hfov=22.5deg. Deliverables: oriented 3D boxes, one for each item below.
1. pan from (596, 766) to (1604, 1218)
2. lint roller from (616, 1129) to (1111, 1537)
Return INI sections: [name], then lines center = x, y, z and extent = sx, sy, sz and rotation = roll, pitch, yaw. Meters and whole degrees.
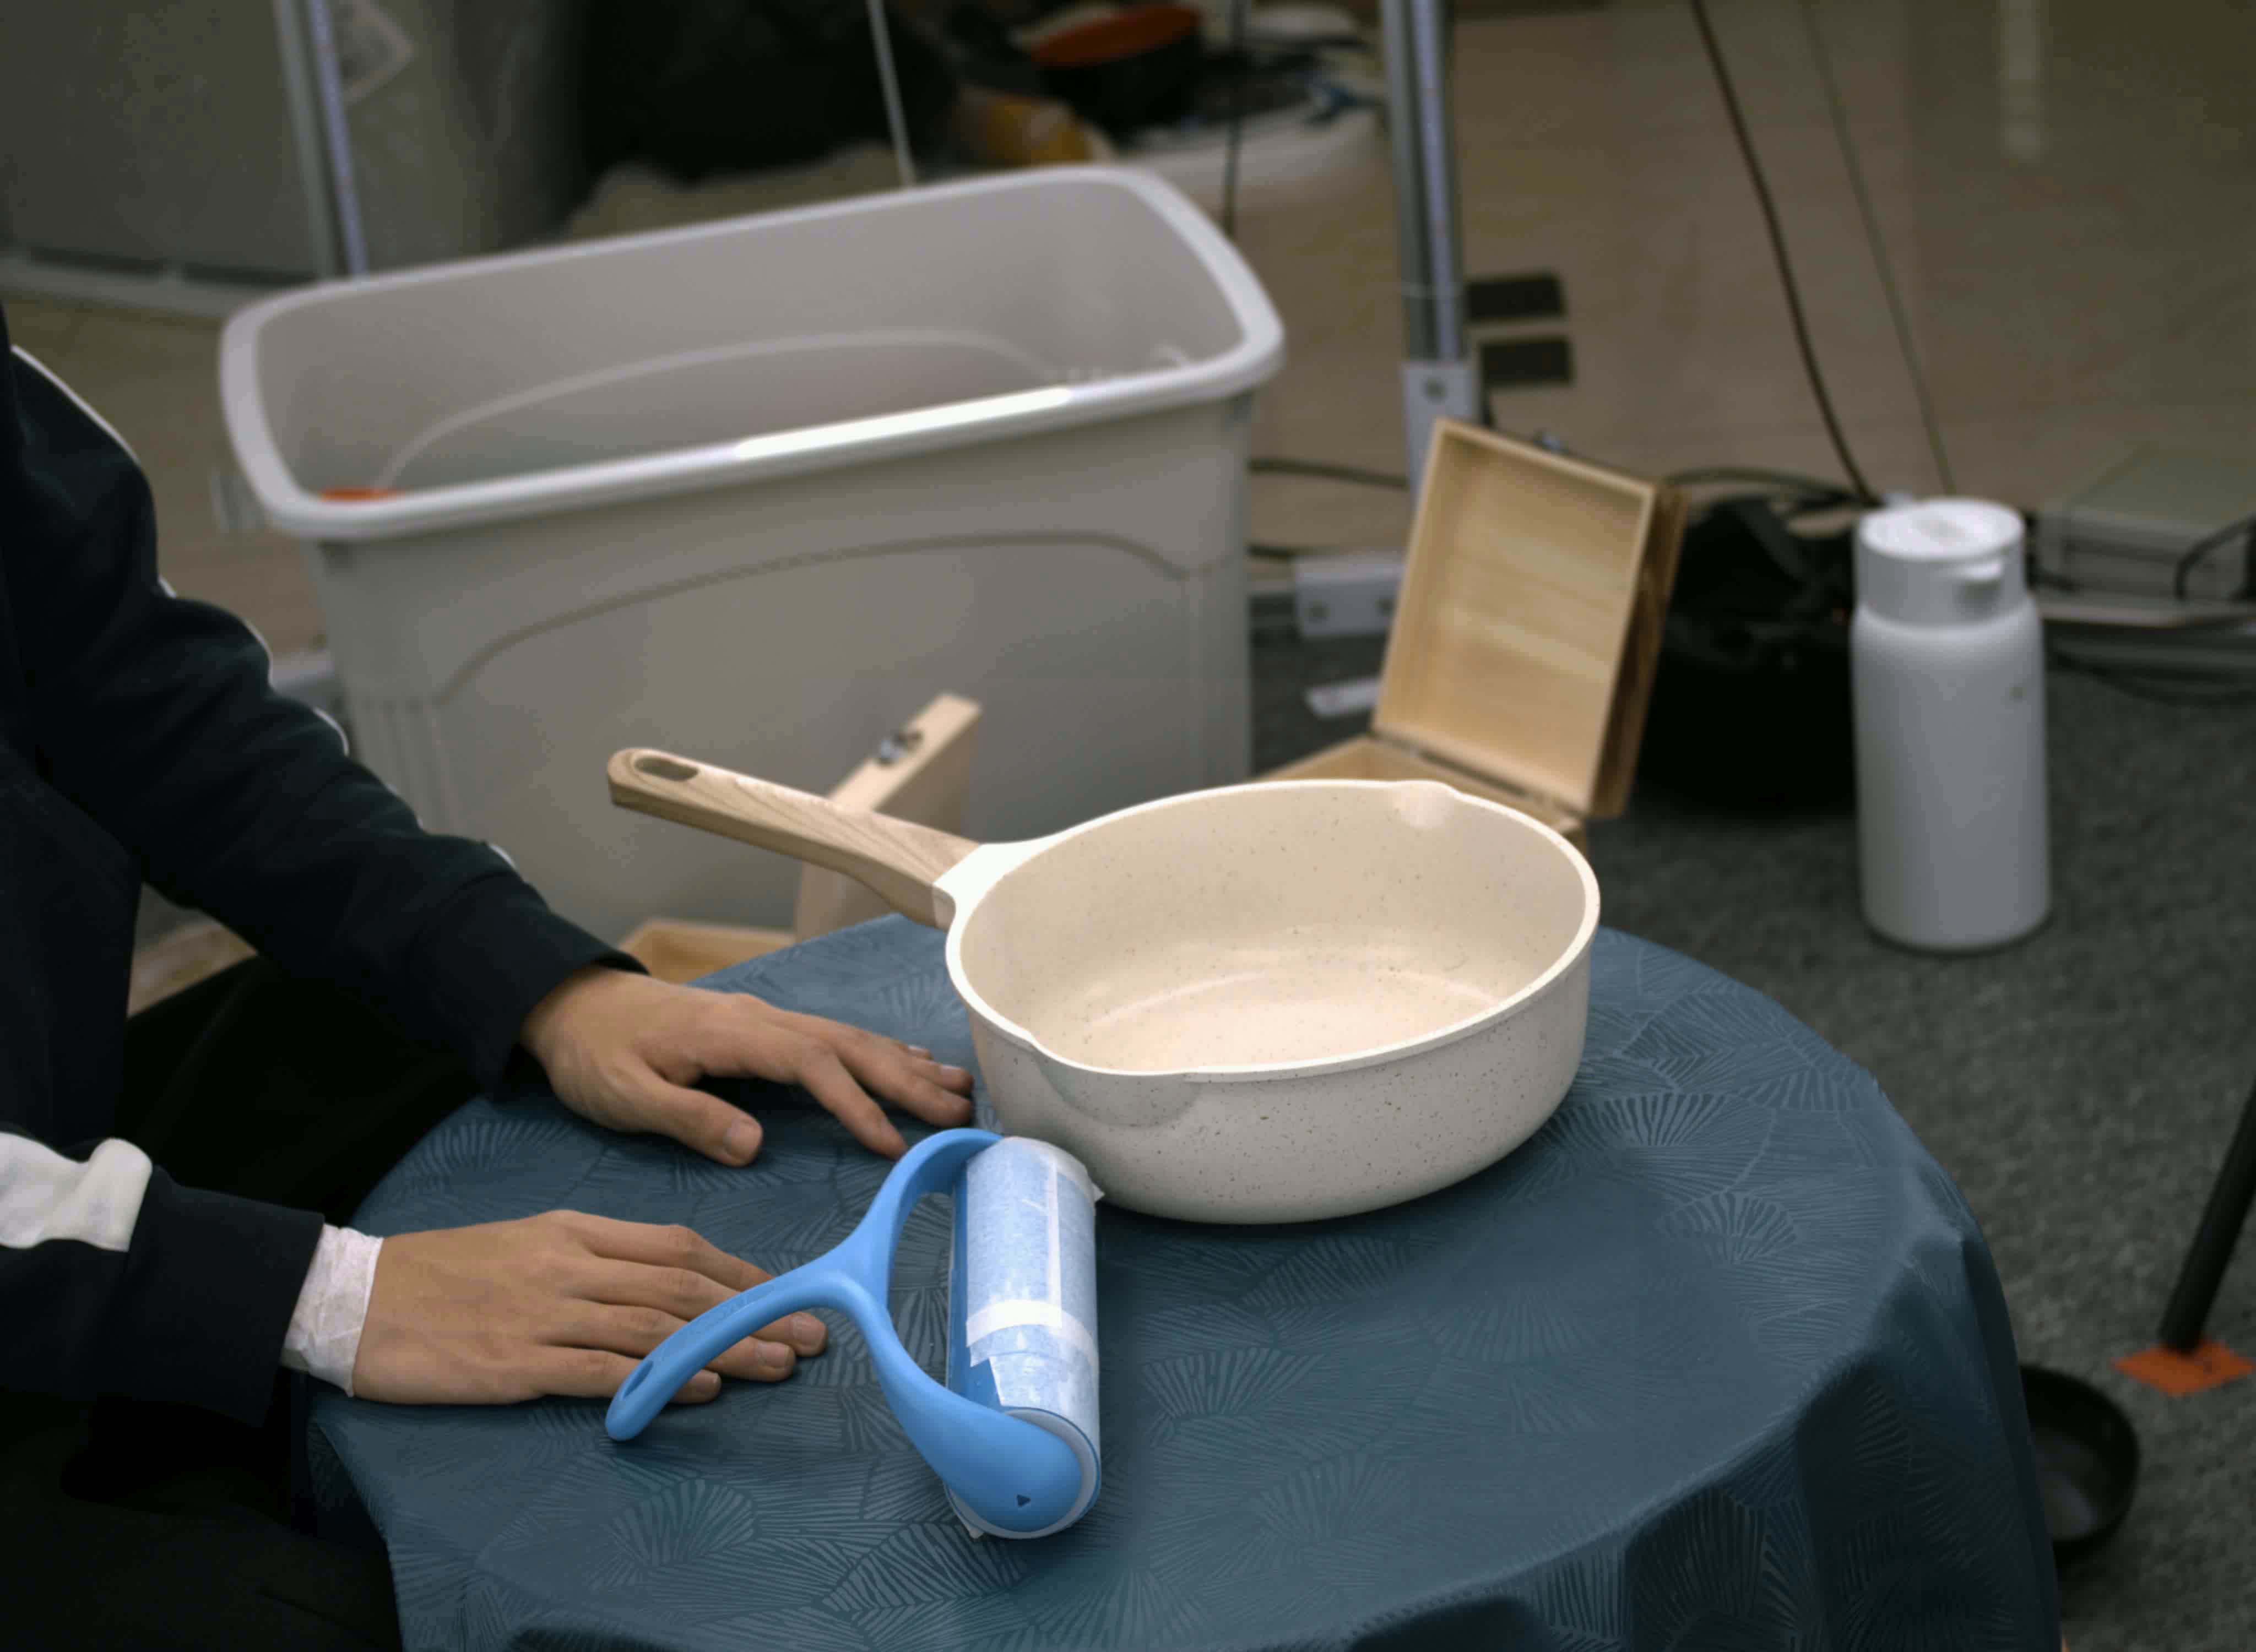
[pan]
center = -0.019, 0.049, 2.220
extent = 0.433, 0.103, 0.260
rotation = 8, 30, 30
[lint roller]
center = -0.095, 0.183, 2.004
extent = 0.180, 0.069, 0.225
rotation = -6, 27, -1
